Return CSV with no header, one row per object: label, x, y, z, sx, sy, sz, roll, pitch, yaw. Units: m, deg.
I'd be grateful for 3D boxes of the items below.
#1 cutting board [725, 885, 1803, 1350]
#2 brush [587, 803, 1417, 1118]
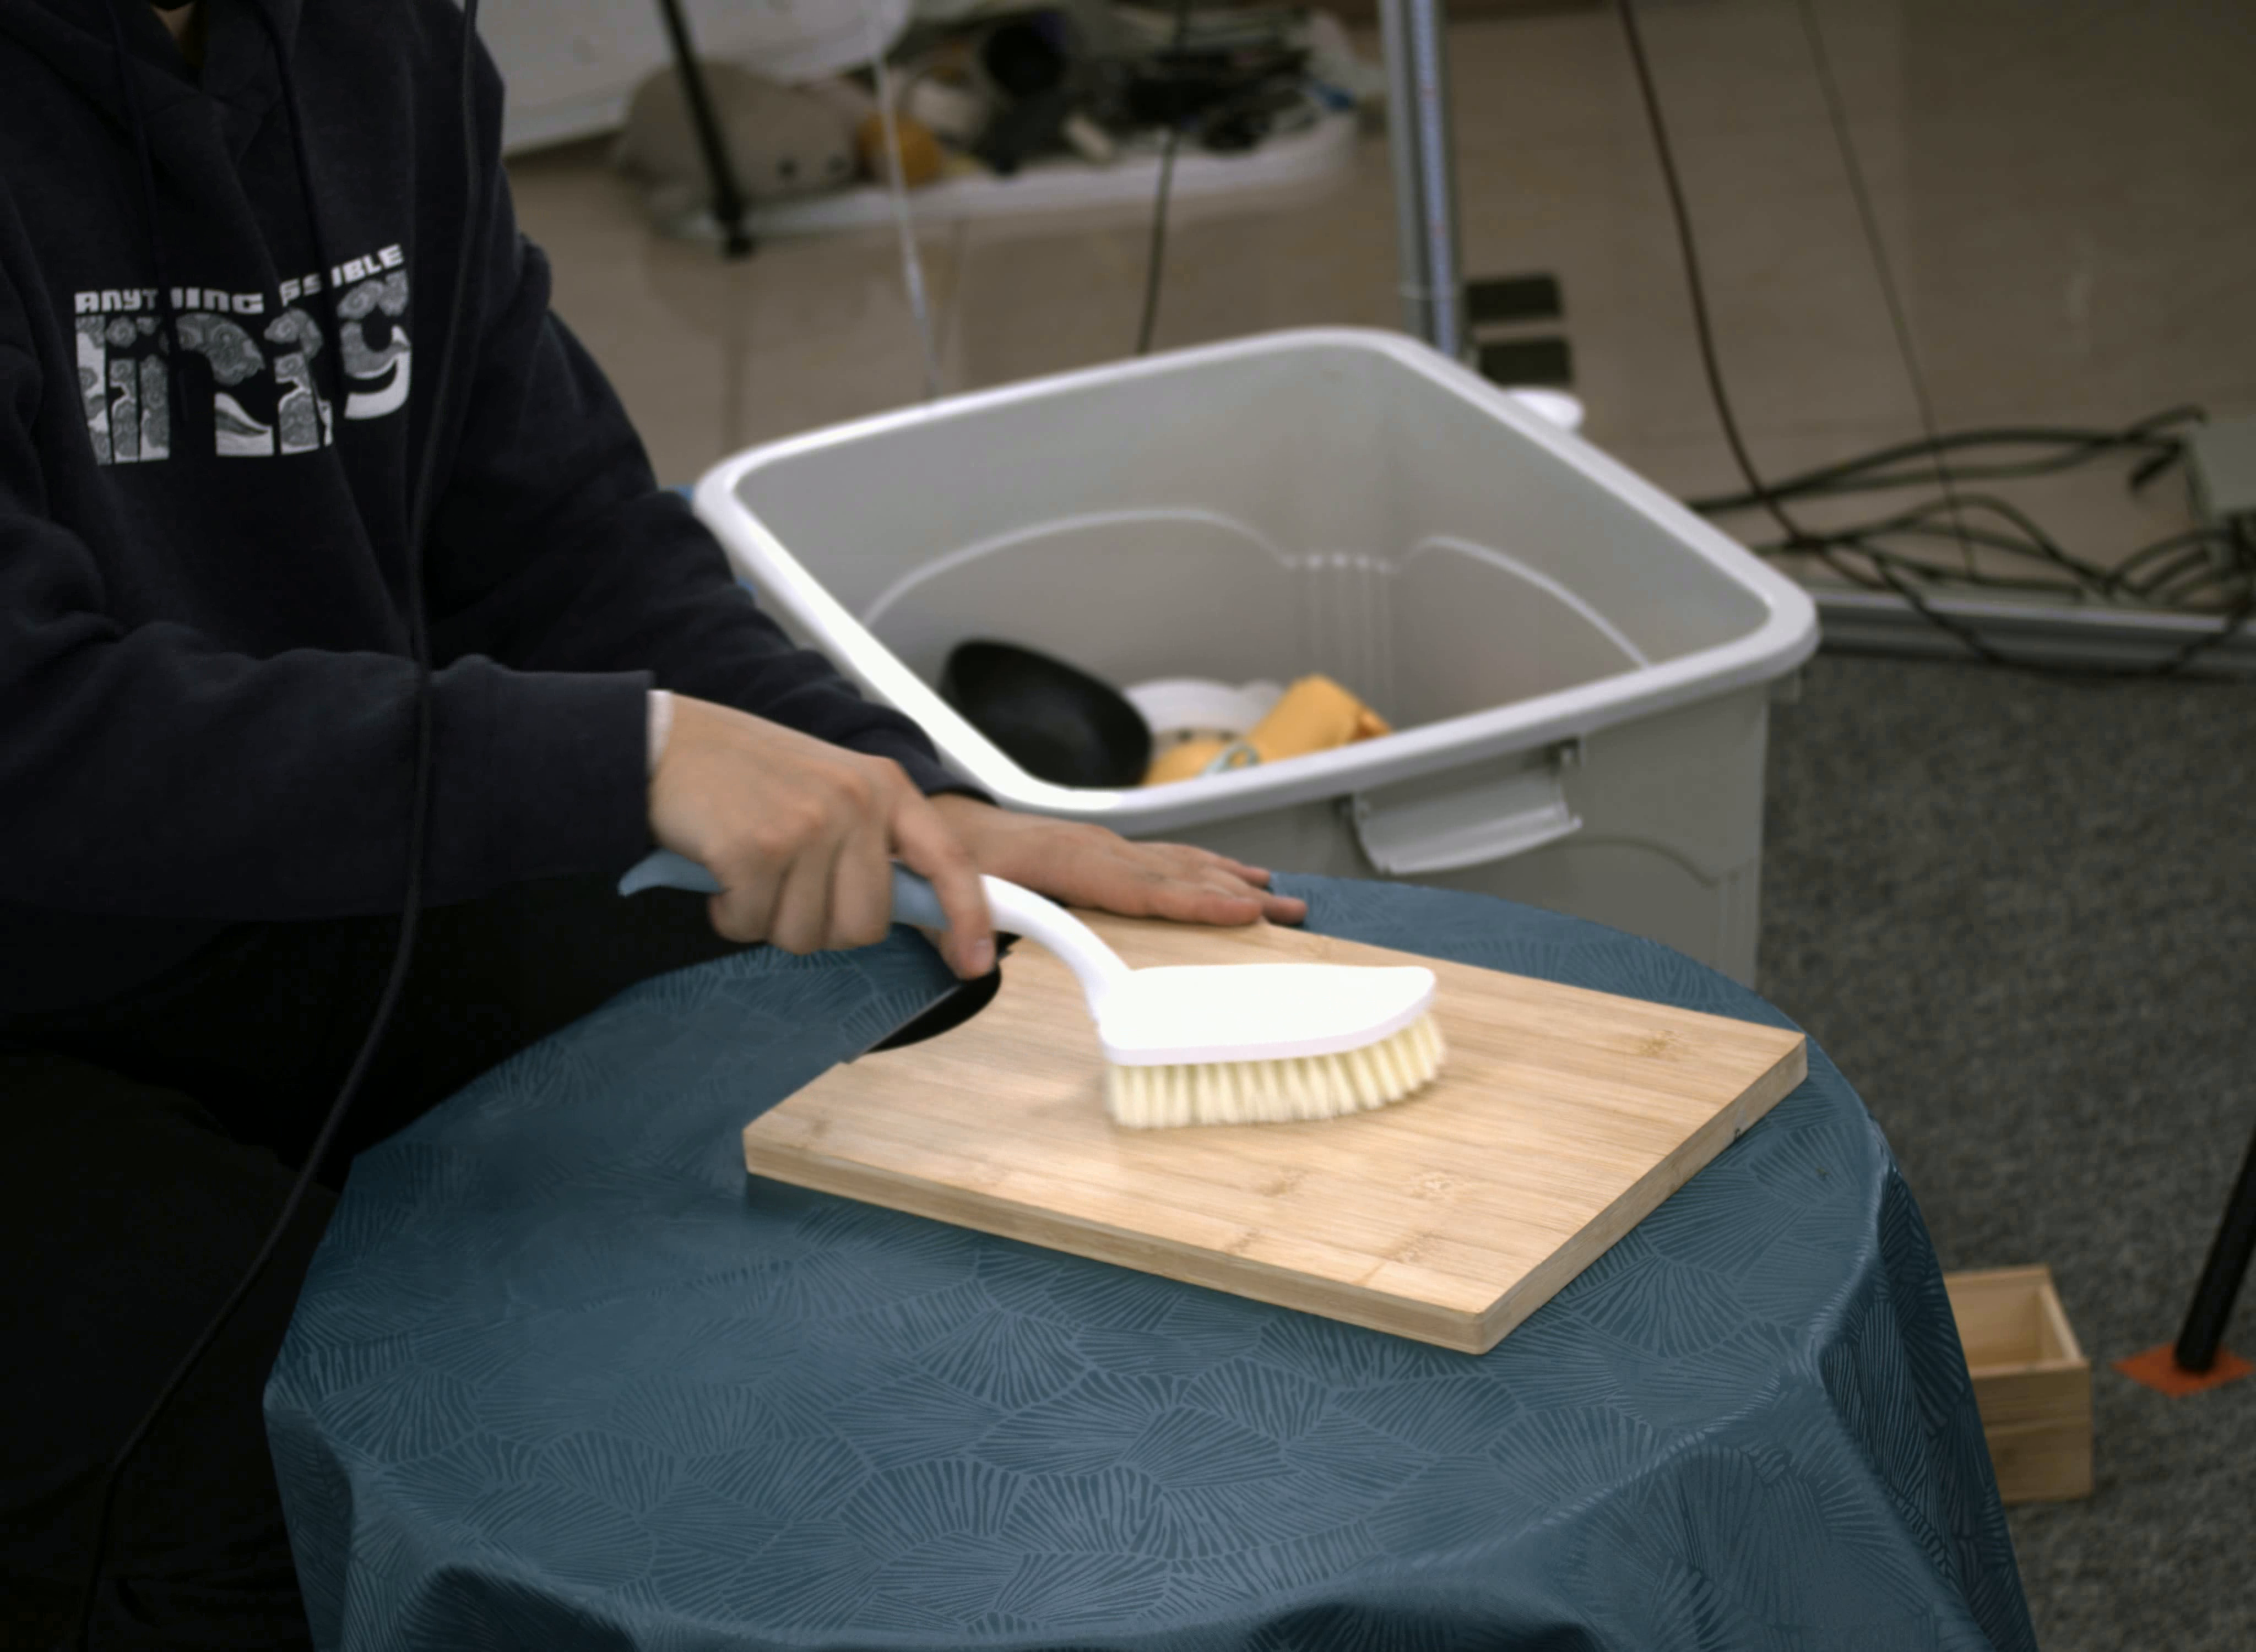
cutting board,0.051,0.106,2.187,0.347,0.024,0.248,11,29,33
brush,-0.050,0.061,2.176,0.325,0.084,0.083,10,-7,2
